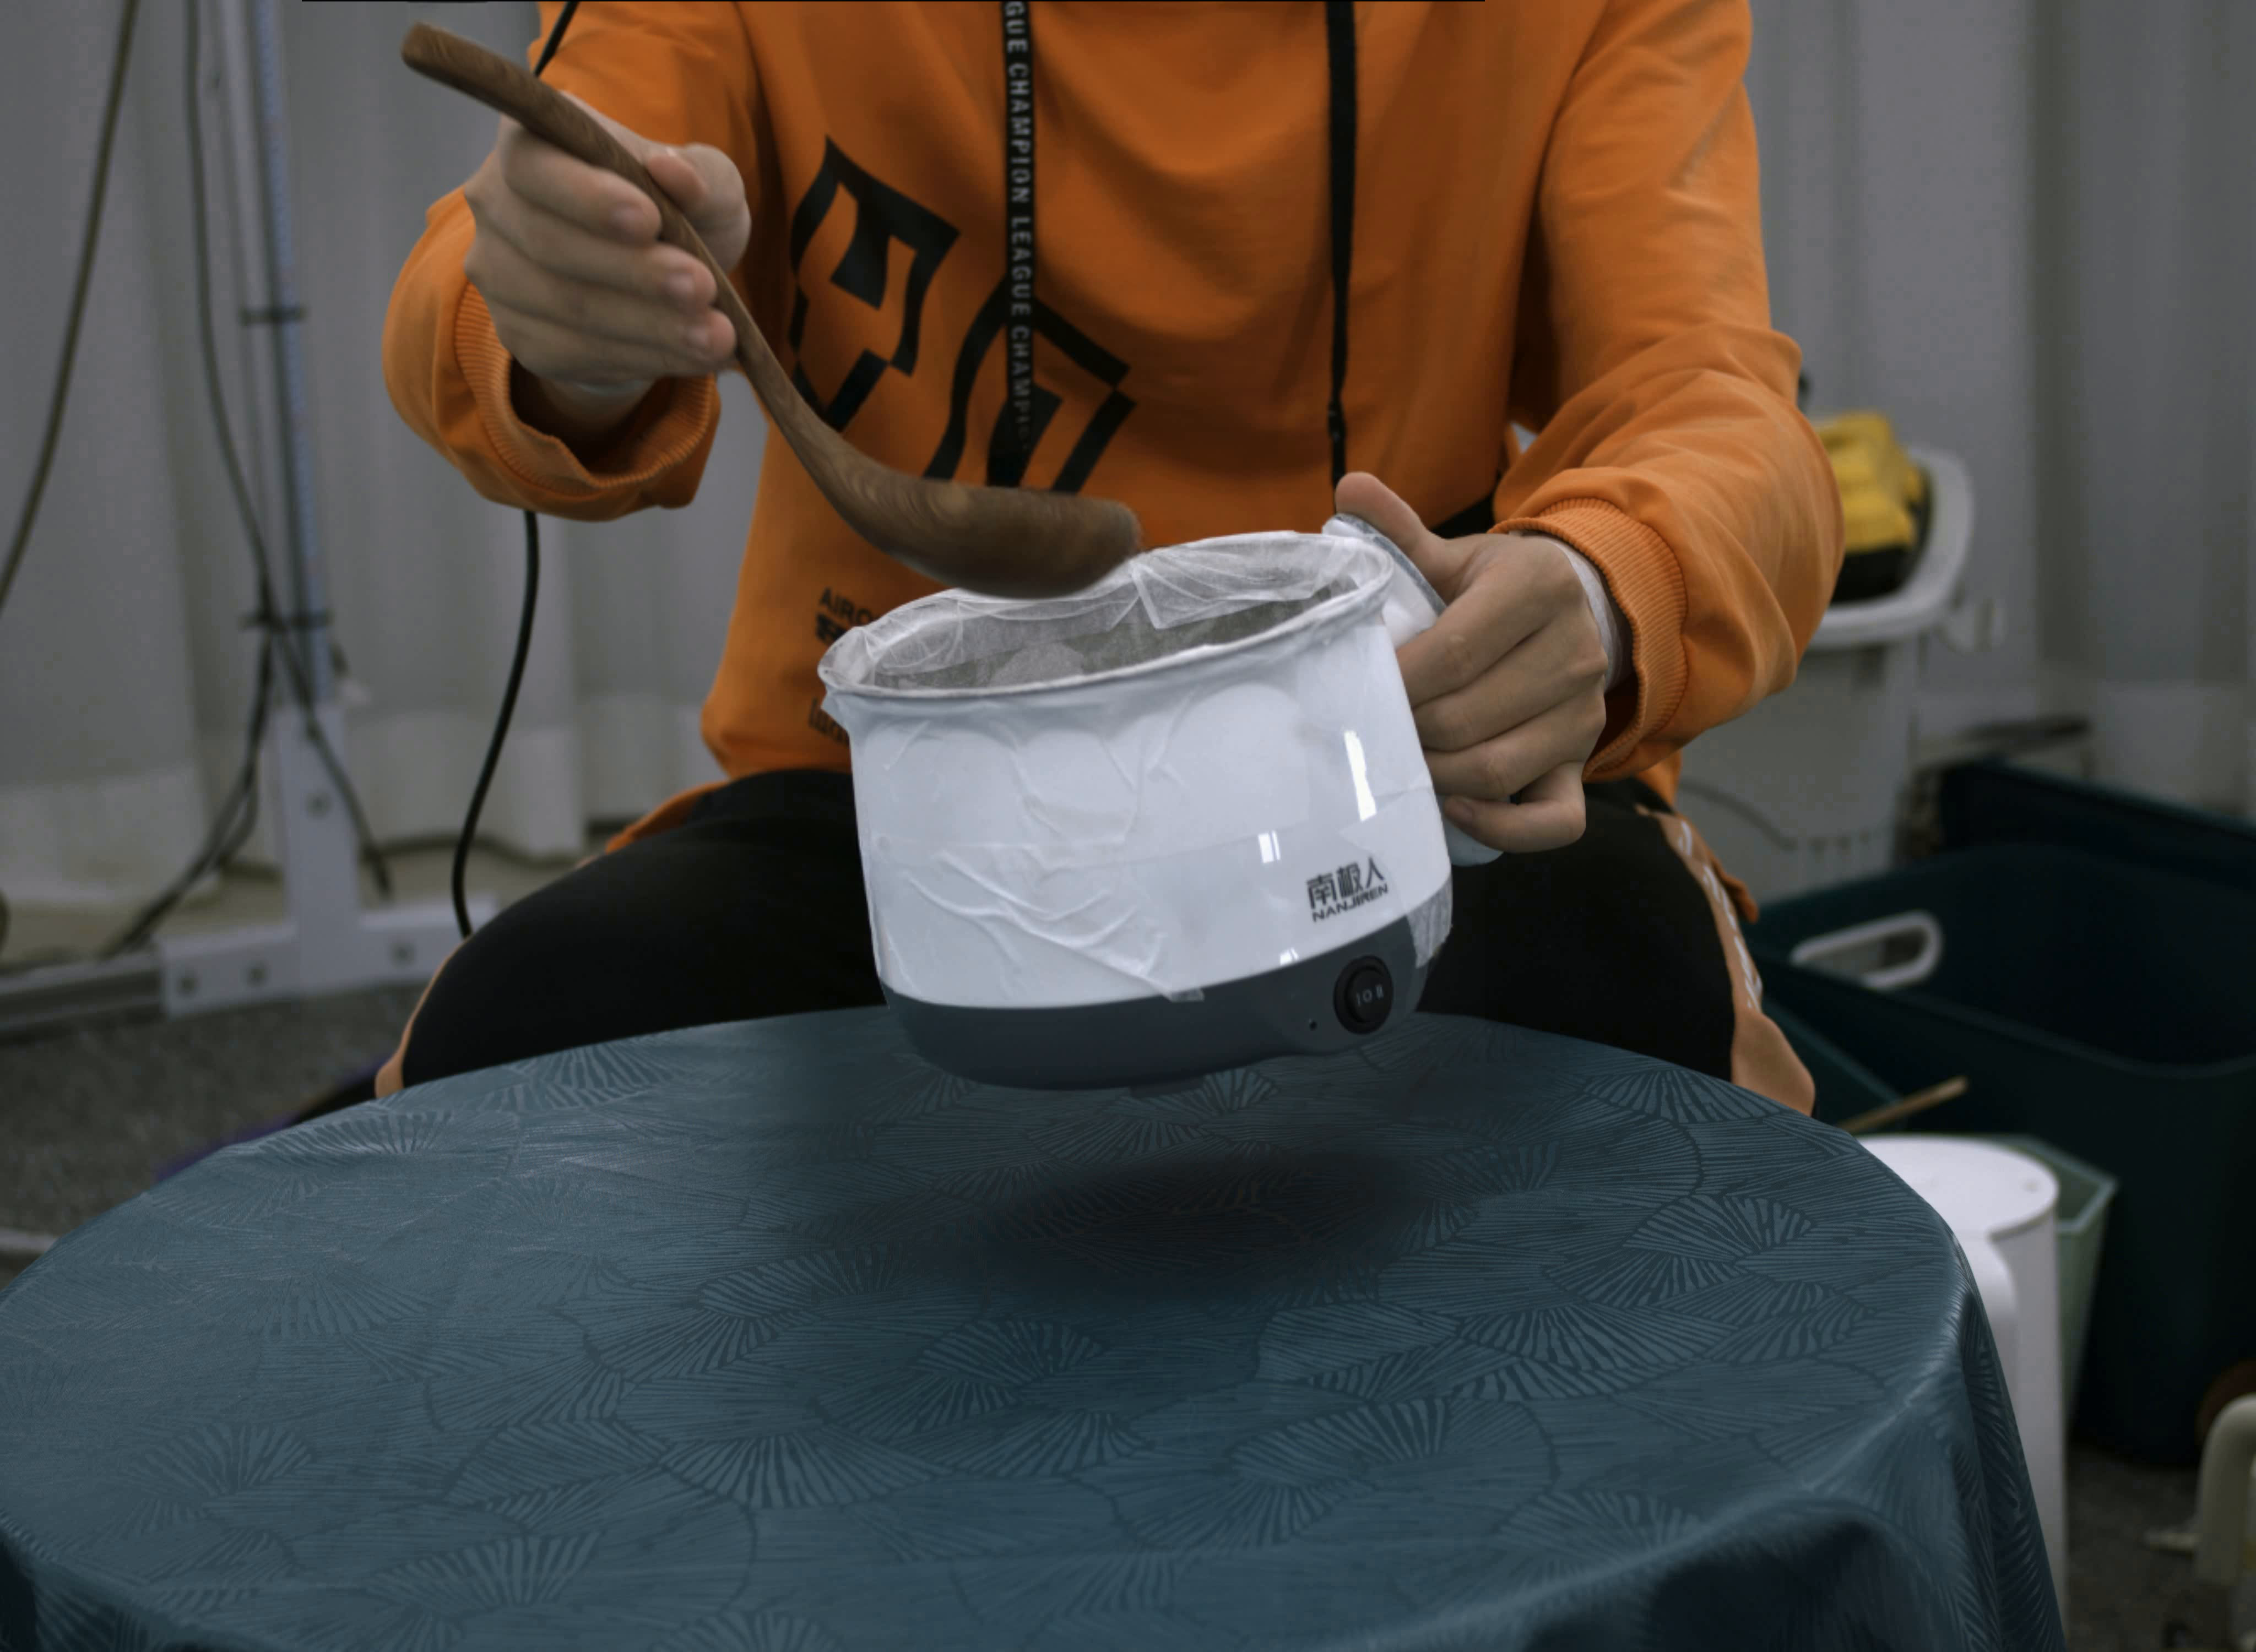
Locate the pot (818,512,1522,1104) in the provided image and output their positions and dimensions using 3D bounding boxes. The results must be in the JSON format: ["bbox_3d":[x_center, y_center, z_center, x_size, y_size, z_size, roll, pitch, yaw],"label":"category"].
[{"bbox_3d":[0.025,-0.011,1.672,0.233,0.136,0.179,-22,18,-39],"label":"pot"}]

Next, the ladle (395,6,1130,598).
[{"bbox_3d":[-0.106,-0.161,1.612,0.065,0.260,0.076,-43,-2,-13],"label":"ladle"}]
